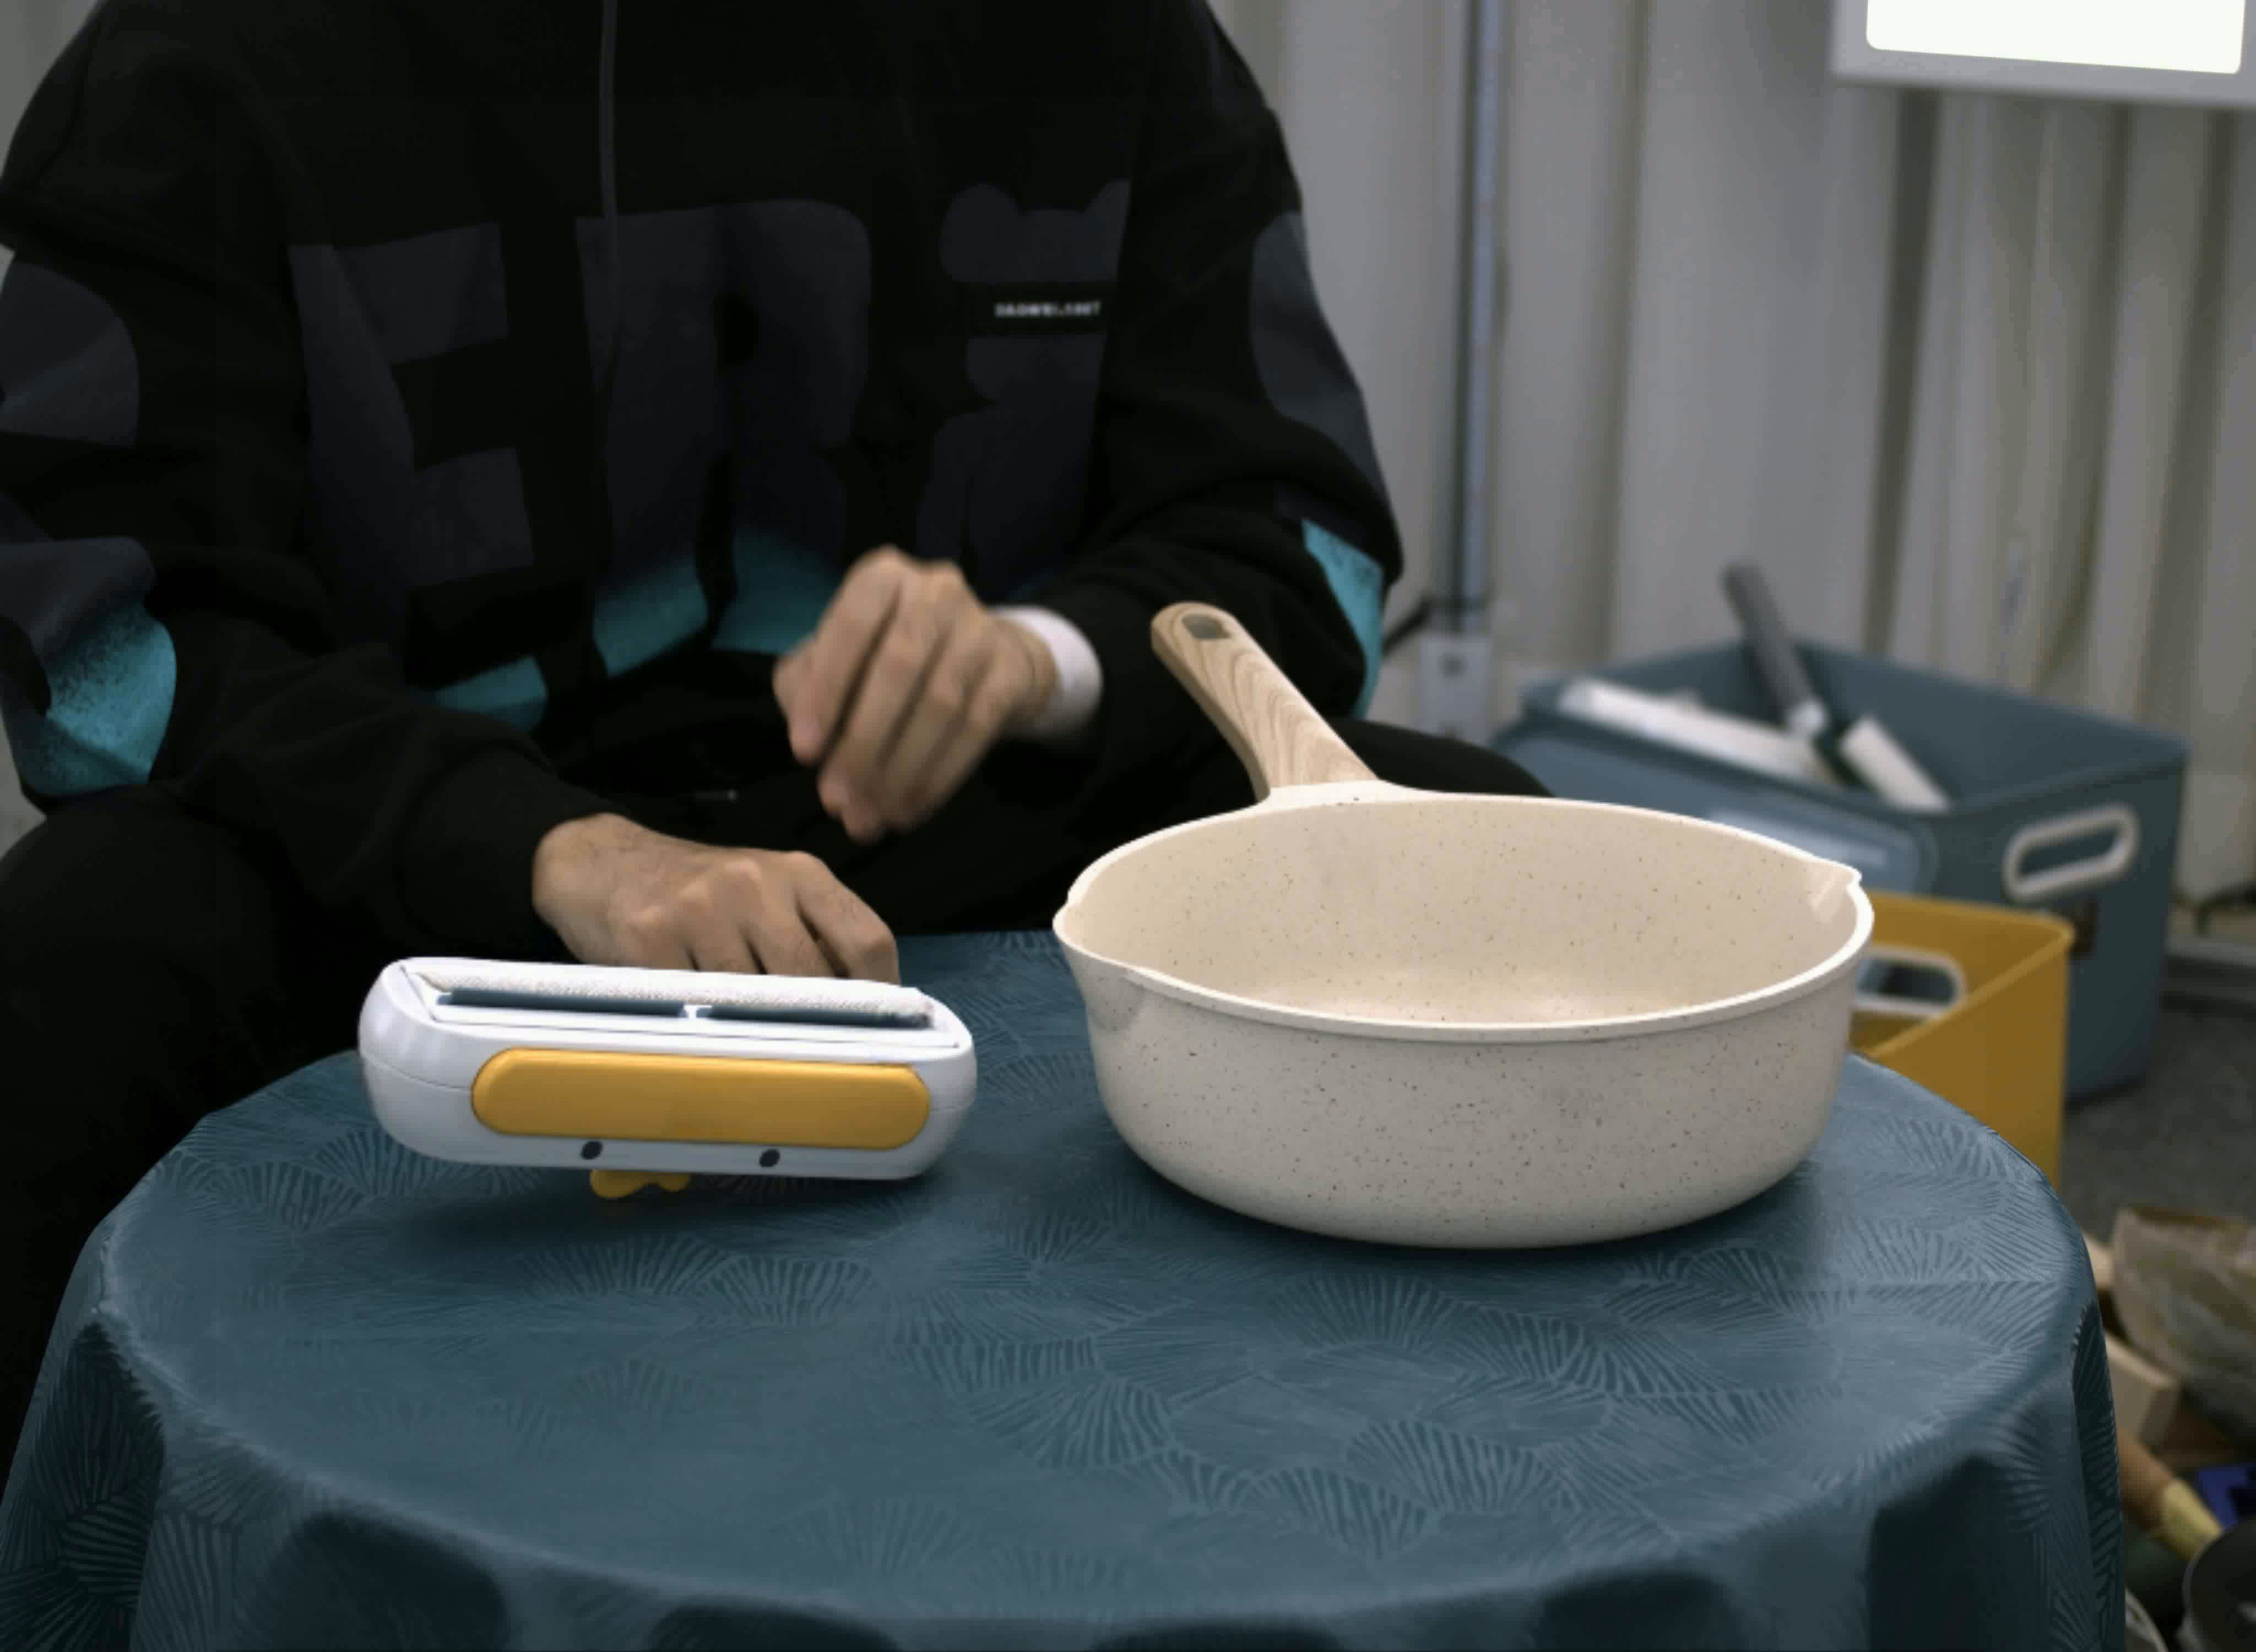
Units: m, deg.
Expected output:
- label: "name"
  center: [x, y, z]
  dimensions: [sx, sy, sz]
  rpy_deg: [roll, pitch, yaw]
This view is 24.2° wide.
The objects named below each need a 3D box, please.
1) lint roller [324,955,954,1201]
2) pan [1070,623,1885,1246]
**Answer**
- label: "lint roller"
  center: [-0.167, 0.067, 1.650]
  dimensions: [0.193, 0.074, 0.190]
  rpy_deg: [0, 13, -21]
- label: "pan"
  center: [0.083, 0.030, 1.730]
  dimensions: [0.264, 0.103, 0.430]
  rpy_deg: [-7, 17, -16]
